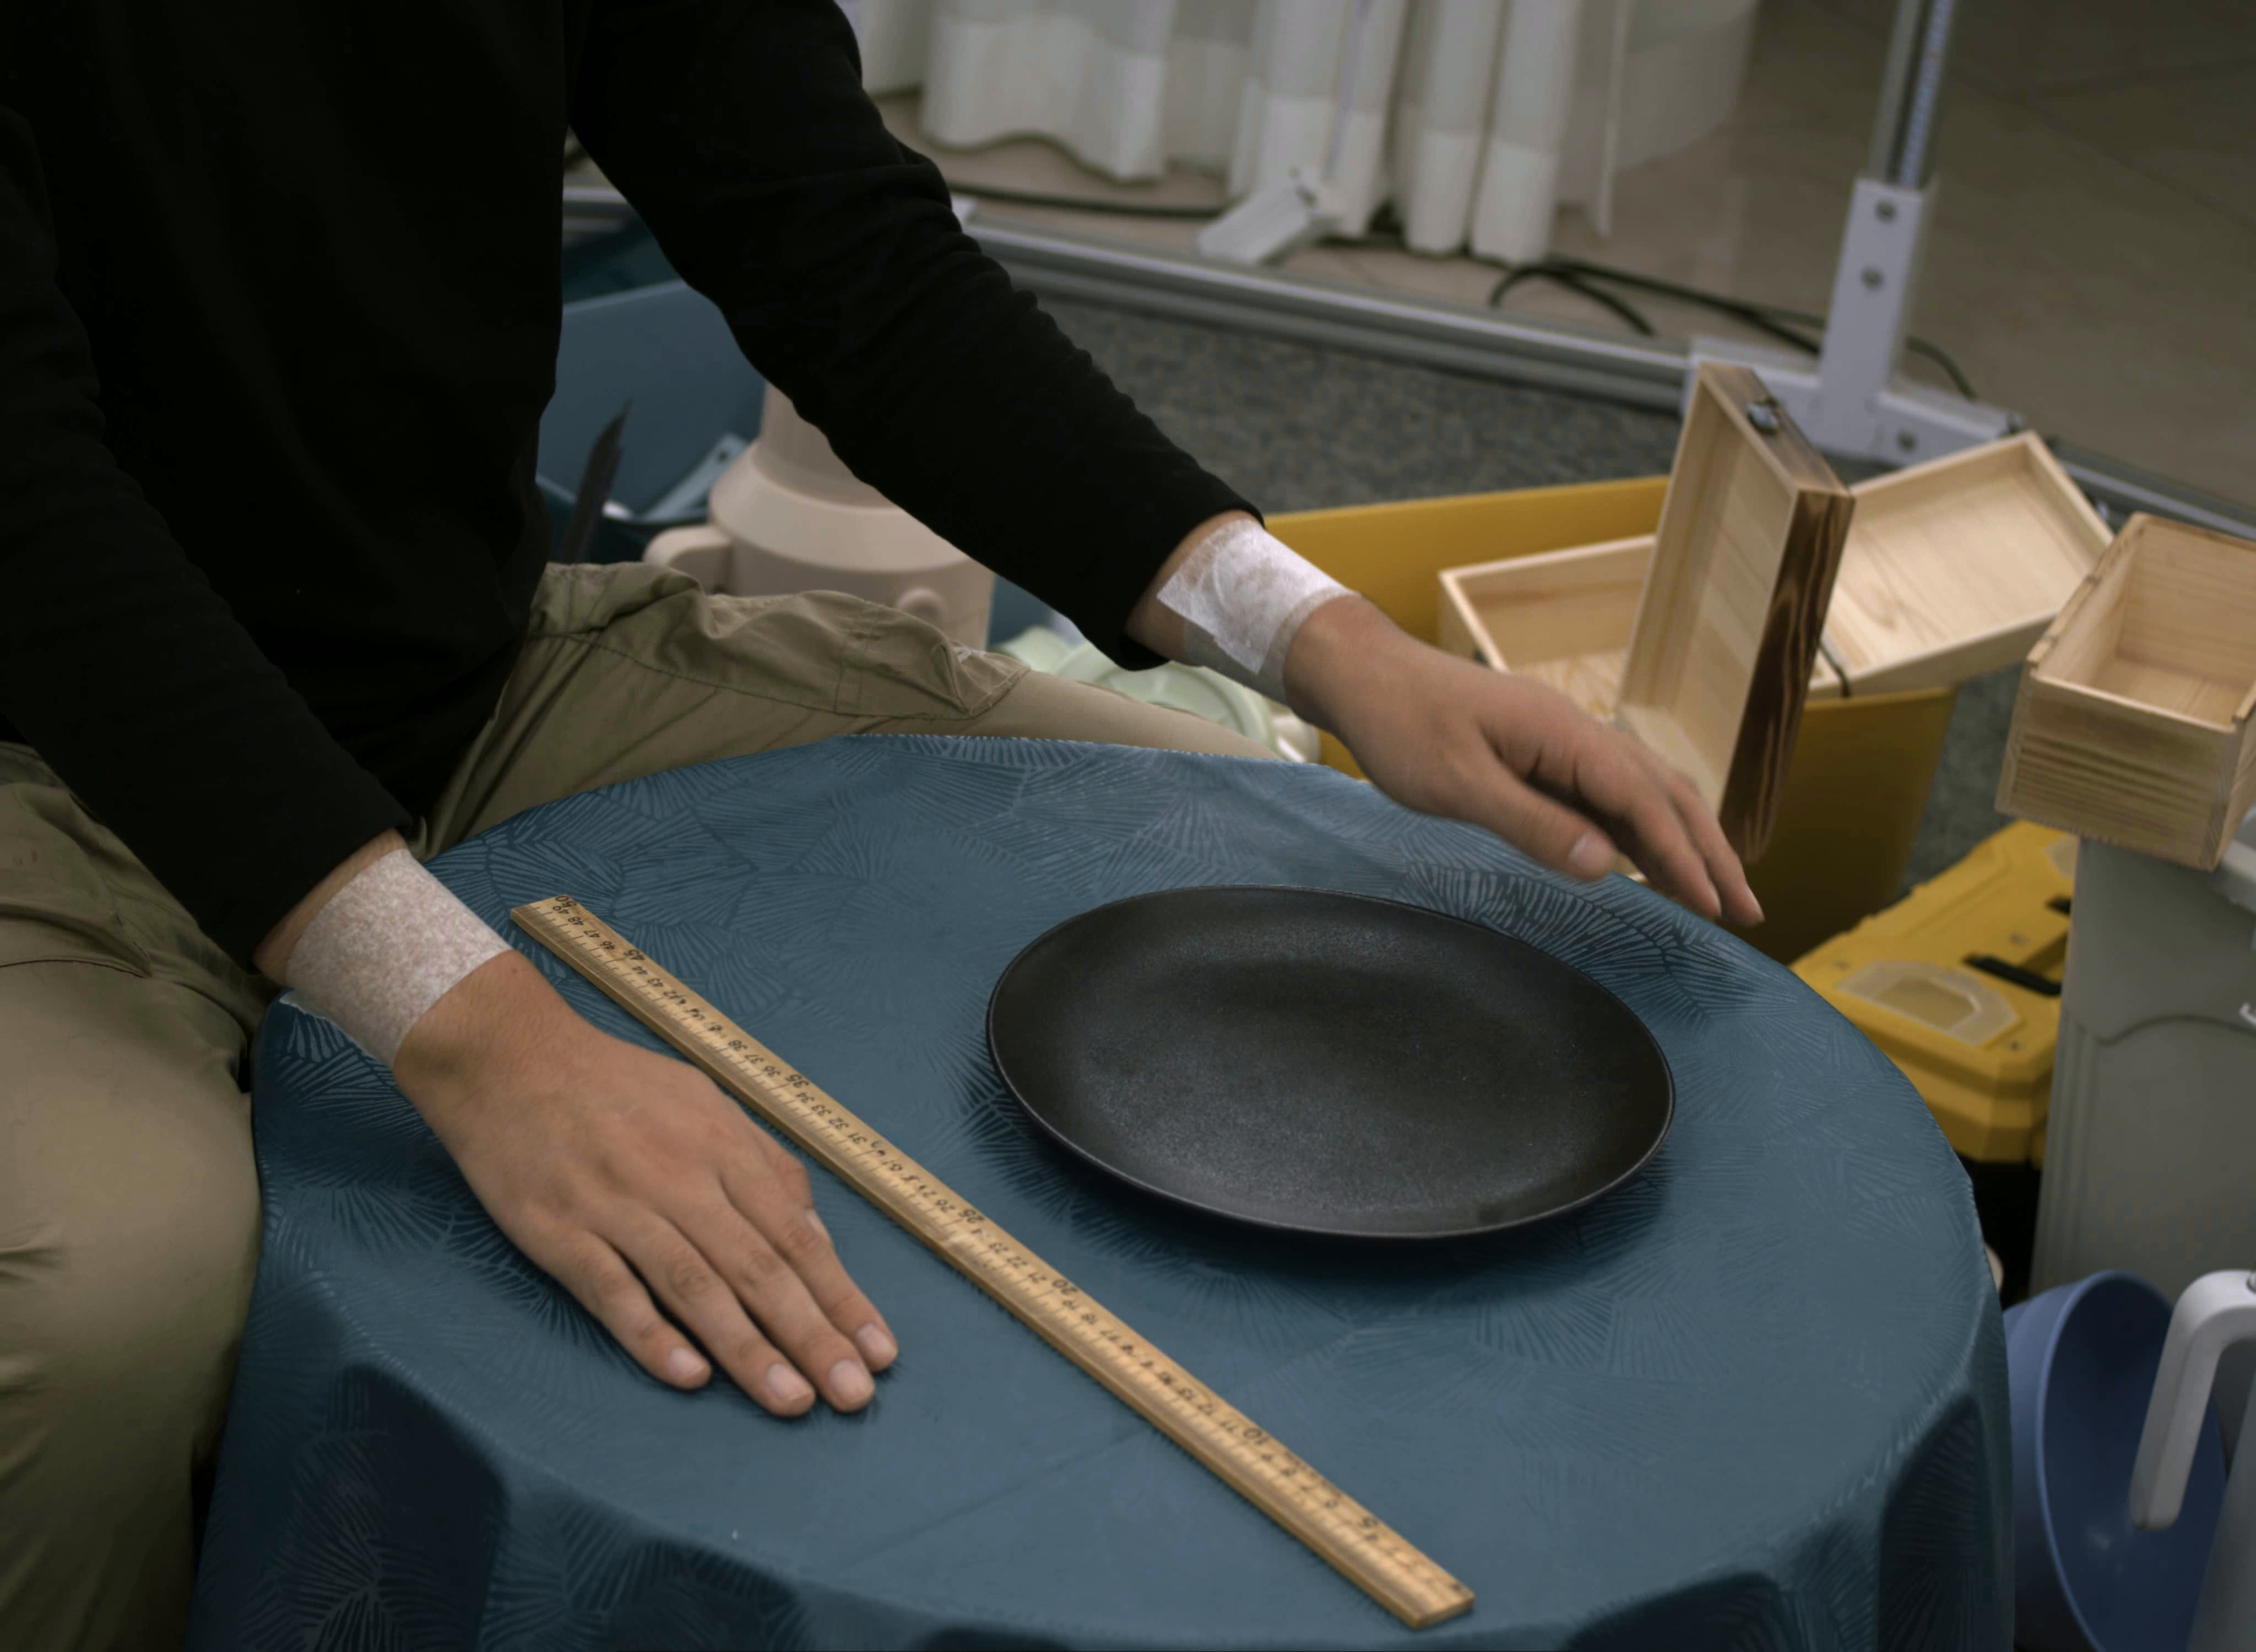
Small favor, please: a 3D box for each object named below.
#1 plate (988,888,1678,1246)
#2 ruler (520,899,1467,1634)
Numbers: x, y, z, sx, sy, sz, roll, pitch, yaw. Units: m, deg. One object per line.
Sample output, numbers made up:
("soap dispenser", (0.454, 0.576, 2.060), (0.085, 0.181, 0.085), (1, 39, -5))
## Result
("plate", (0.071, 0.087, 1.862), (0.243, 0.023, 0.246), (5, 27, -3))
("ruler", (-0.058, 0.134, 1.764), (0.026, 0.006, 0.505), (-13, 33, -36))
